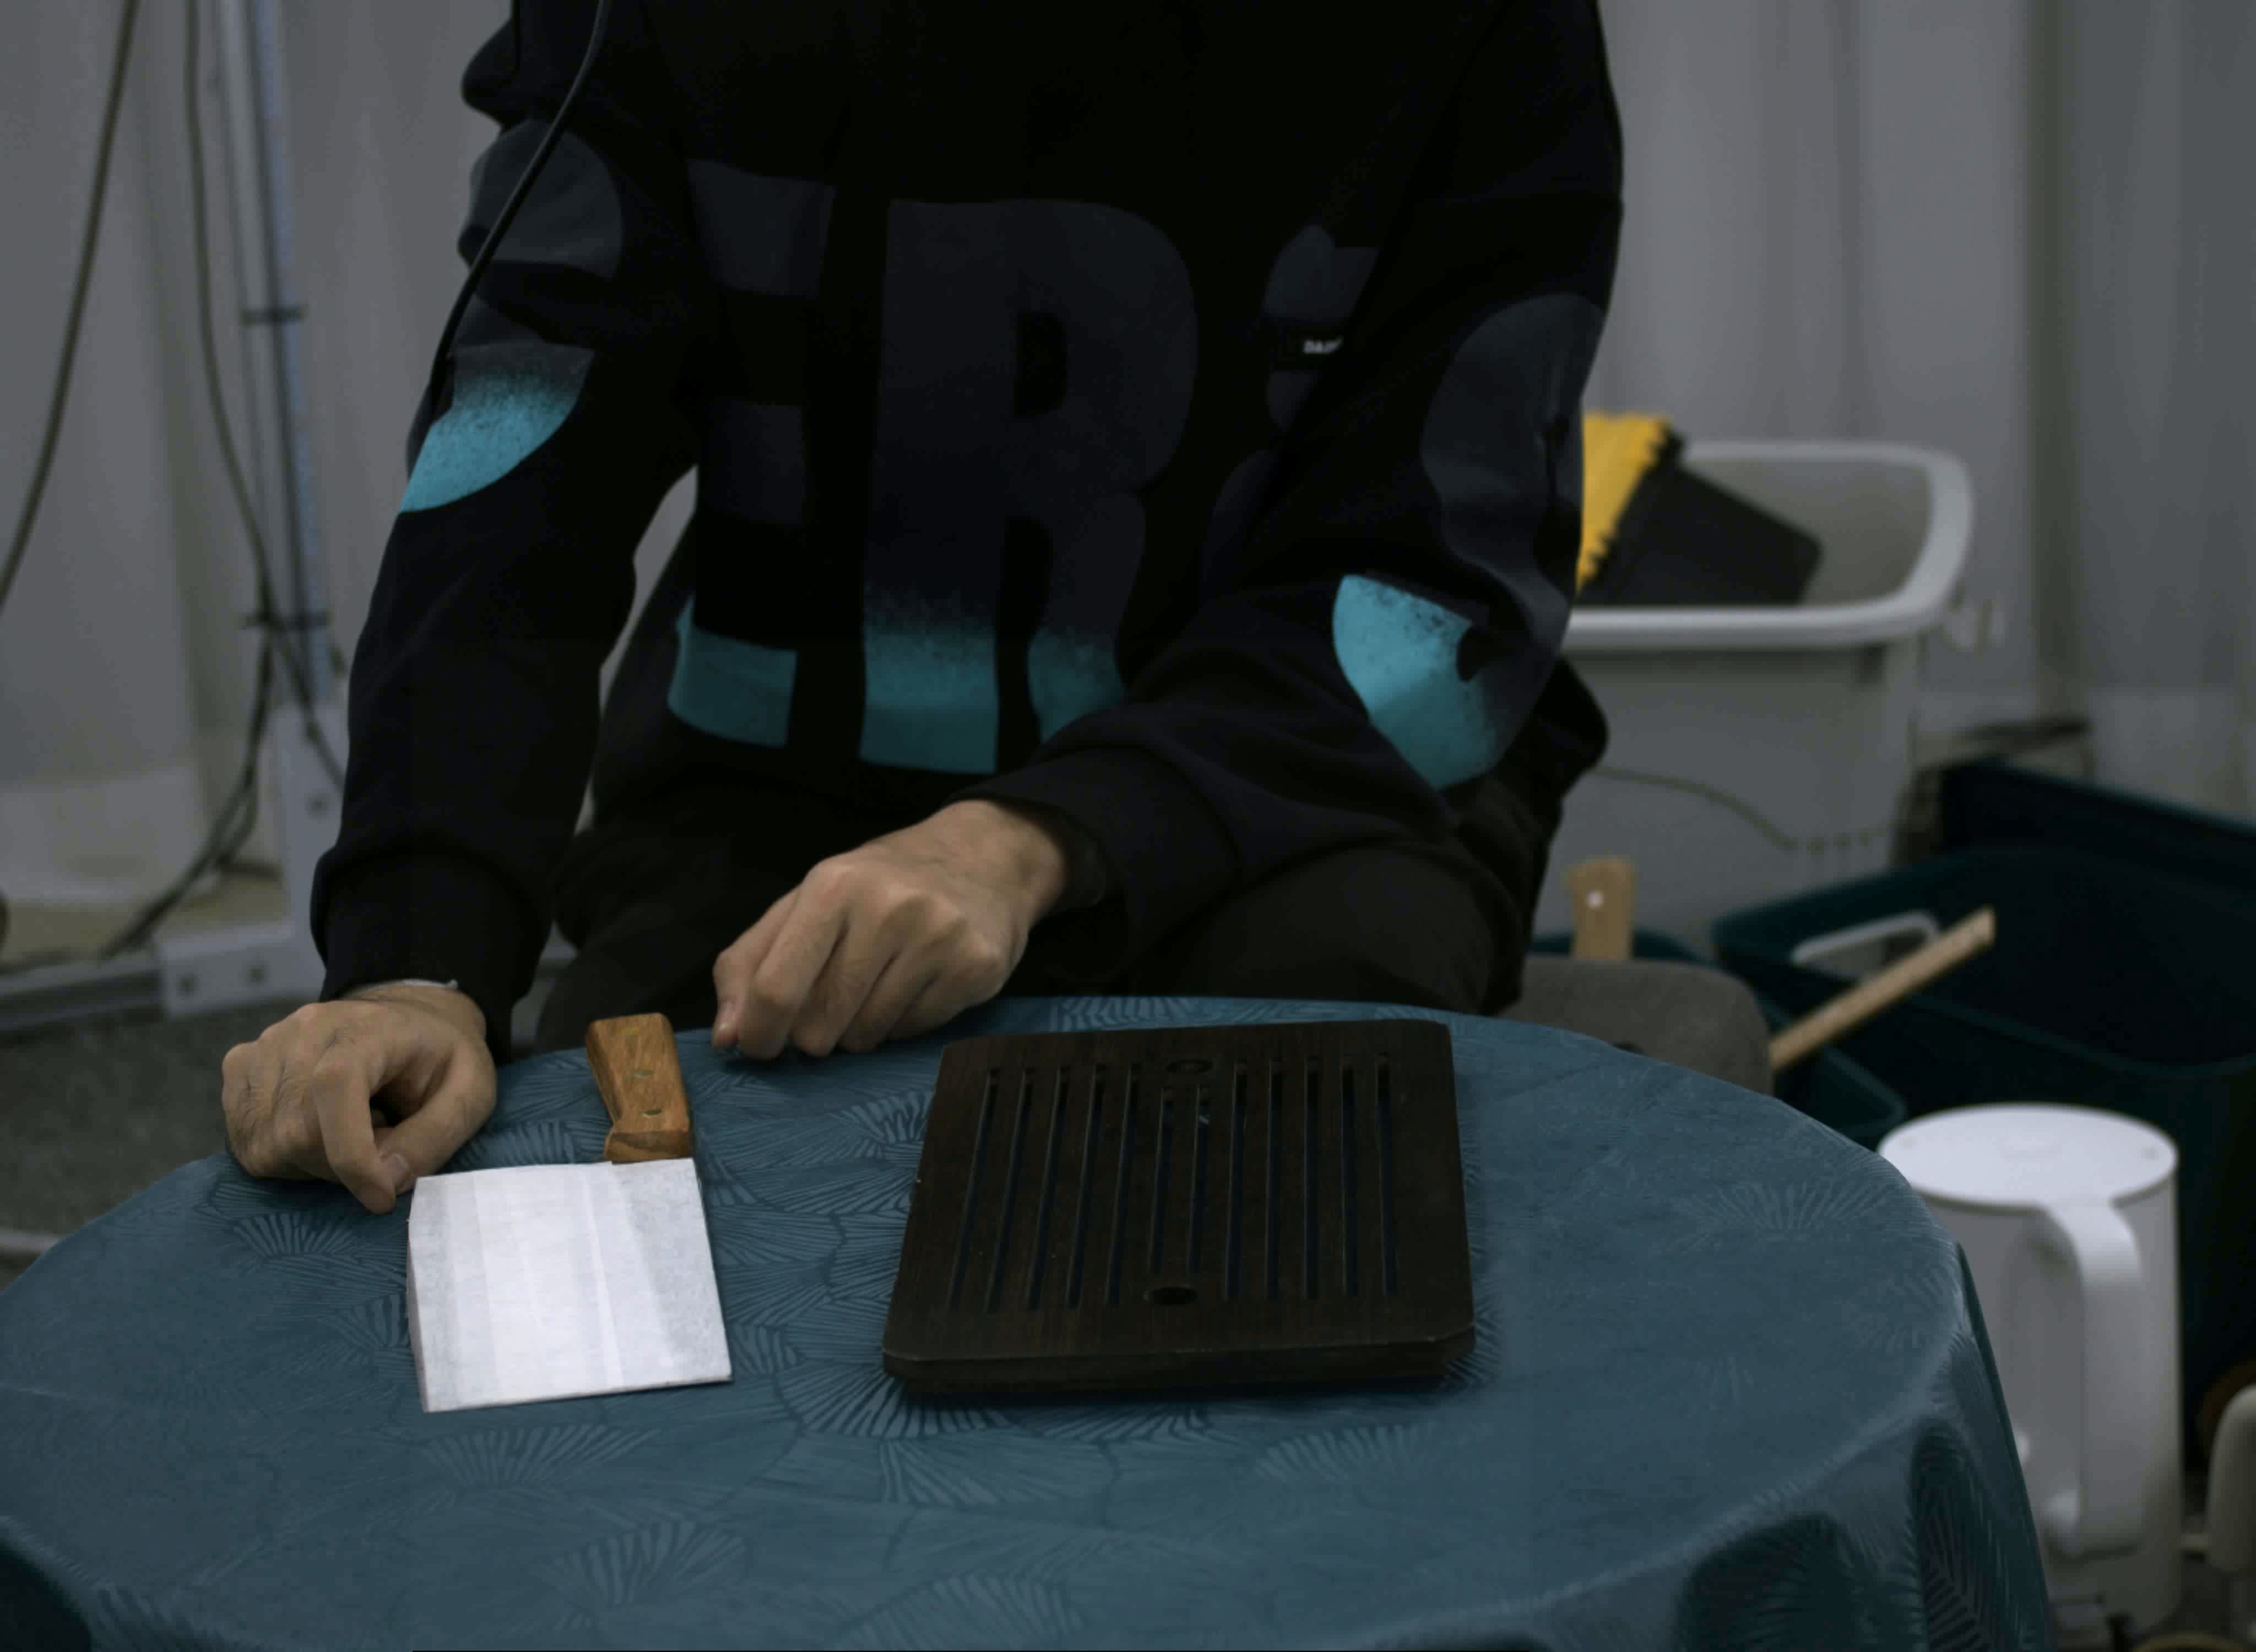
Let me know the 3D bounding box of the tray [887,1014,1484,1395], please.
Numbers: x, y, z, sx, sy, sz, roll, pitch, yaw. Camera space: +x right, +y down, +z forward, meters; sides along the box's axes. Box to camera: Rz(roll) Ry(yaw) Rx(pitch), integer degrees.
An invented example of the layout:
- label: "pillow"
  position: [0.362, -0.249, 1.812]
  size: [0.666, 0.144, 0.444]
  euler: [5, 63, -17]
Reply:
- label: "tray"
  position: [0.022, 0.114, 1.679]
  size: [0.169, 0.018, 0.308]
  euler: [-3, 15, 3]

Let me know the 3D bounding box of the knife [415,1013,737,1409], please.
- label: "knife"
  position: [-0.176, 0.119, 1.707]
  size: [0.092, 0.021, 0.308]
  euler: [-6, 18, -6]
